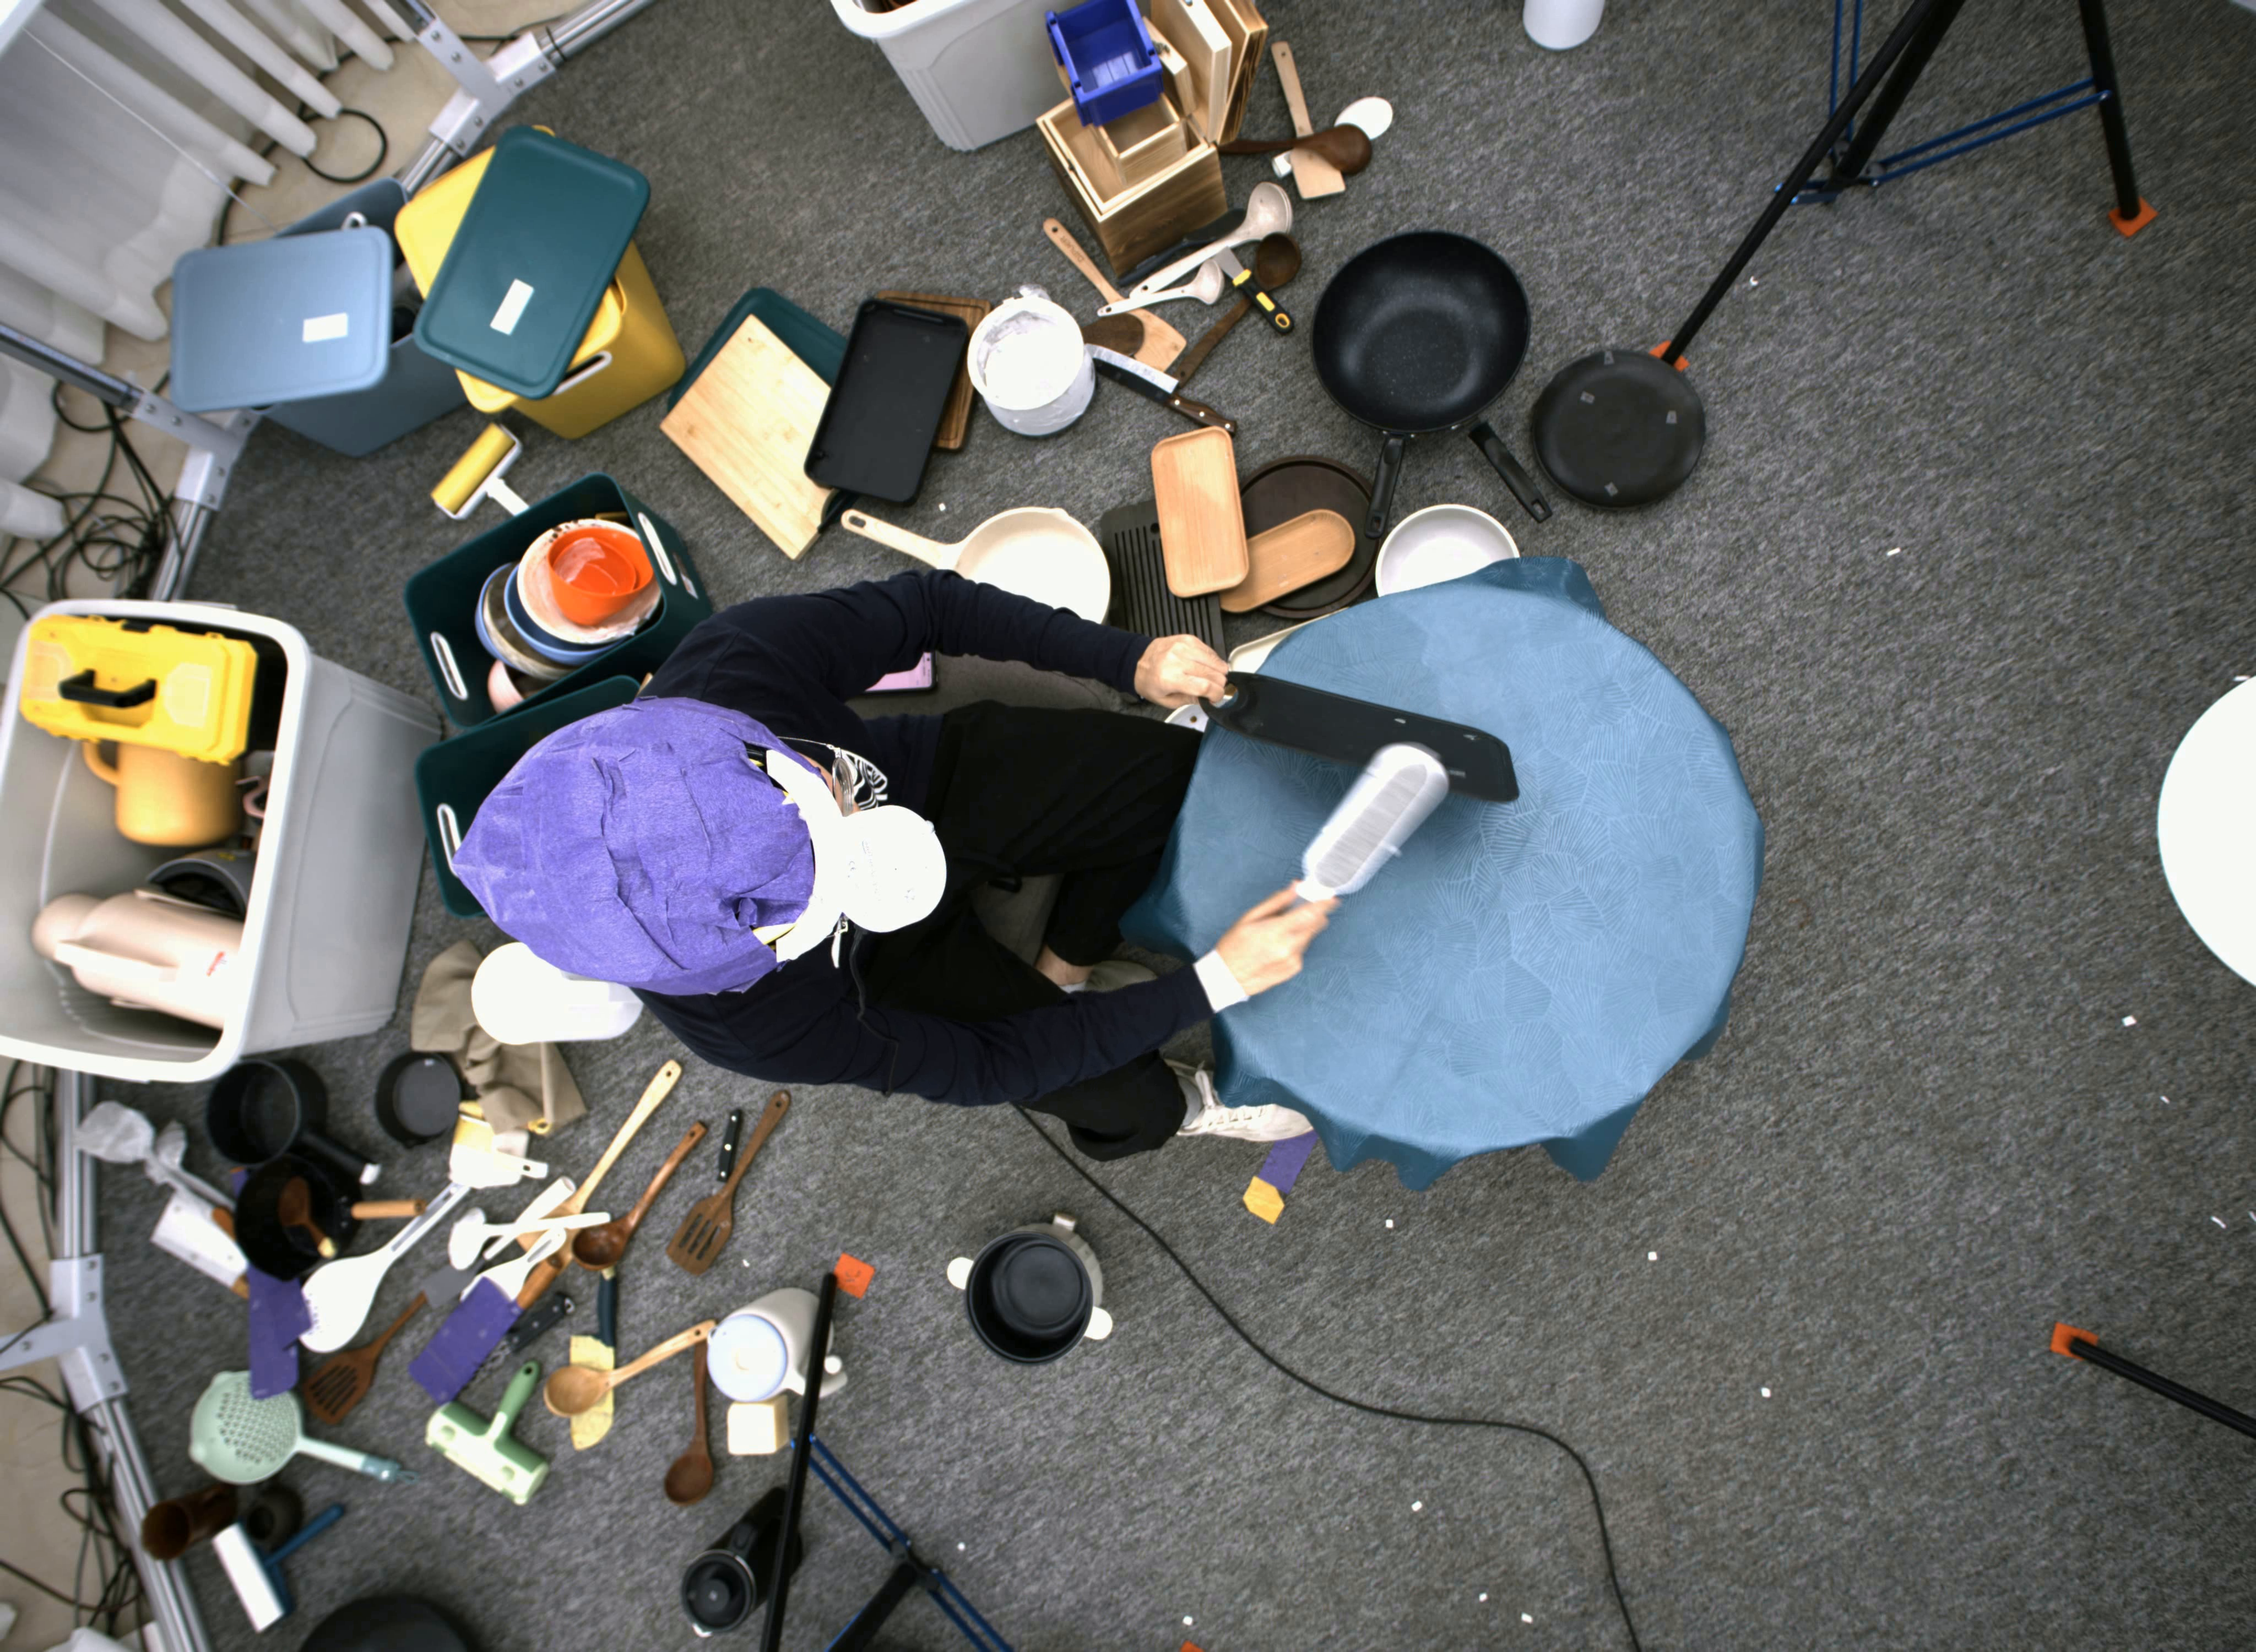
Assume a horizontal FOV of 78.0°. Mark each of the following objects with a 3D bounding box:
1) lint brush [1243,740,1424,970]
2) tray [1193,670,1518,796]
[{"bbox_3d":[0.188,0.035,1.334,0.060,0.020,0.317,21,128,-12],"label":"lint brush"},{"bbox_3d":[0.224,-0.100,1.366,0.326,0.206,0.010,15,114,5],"label":"tray"}]
